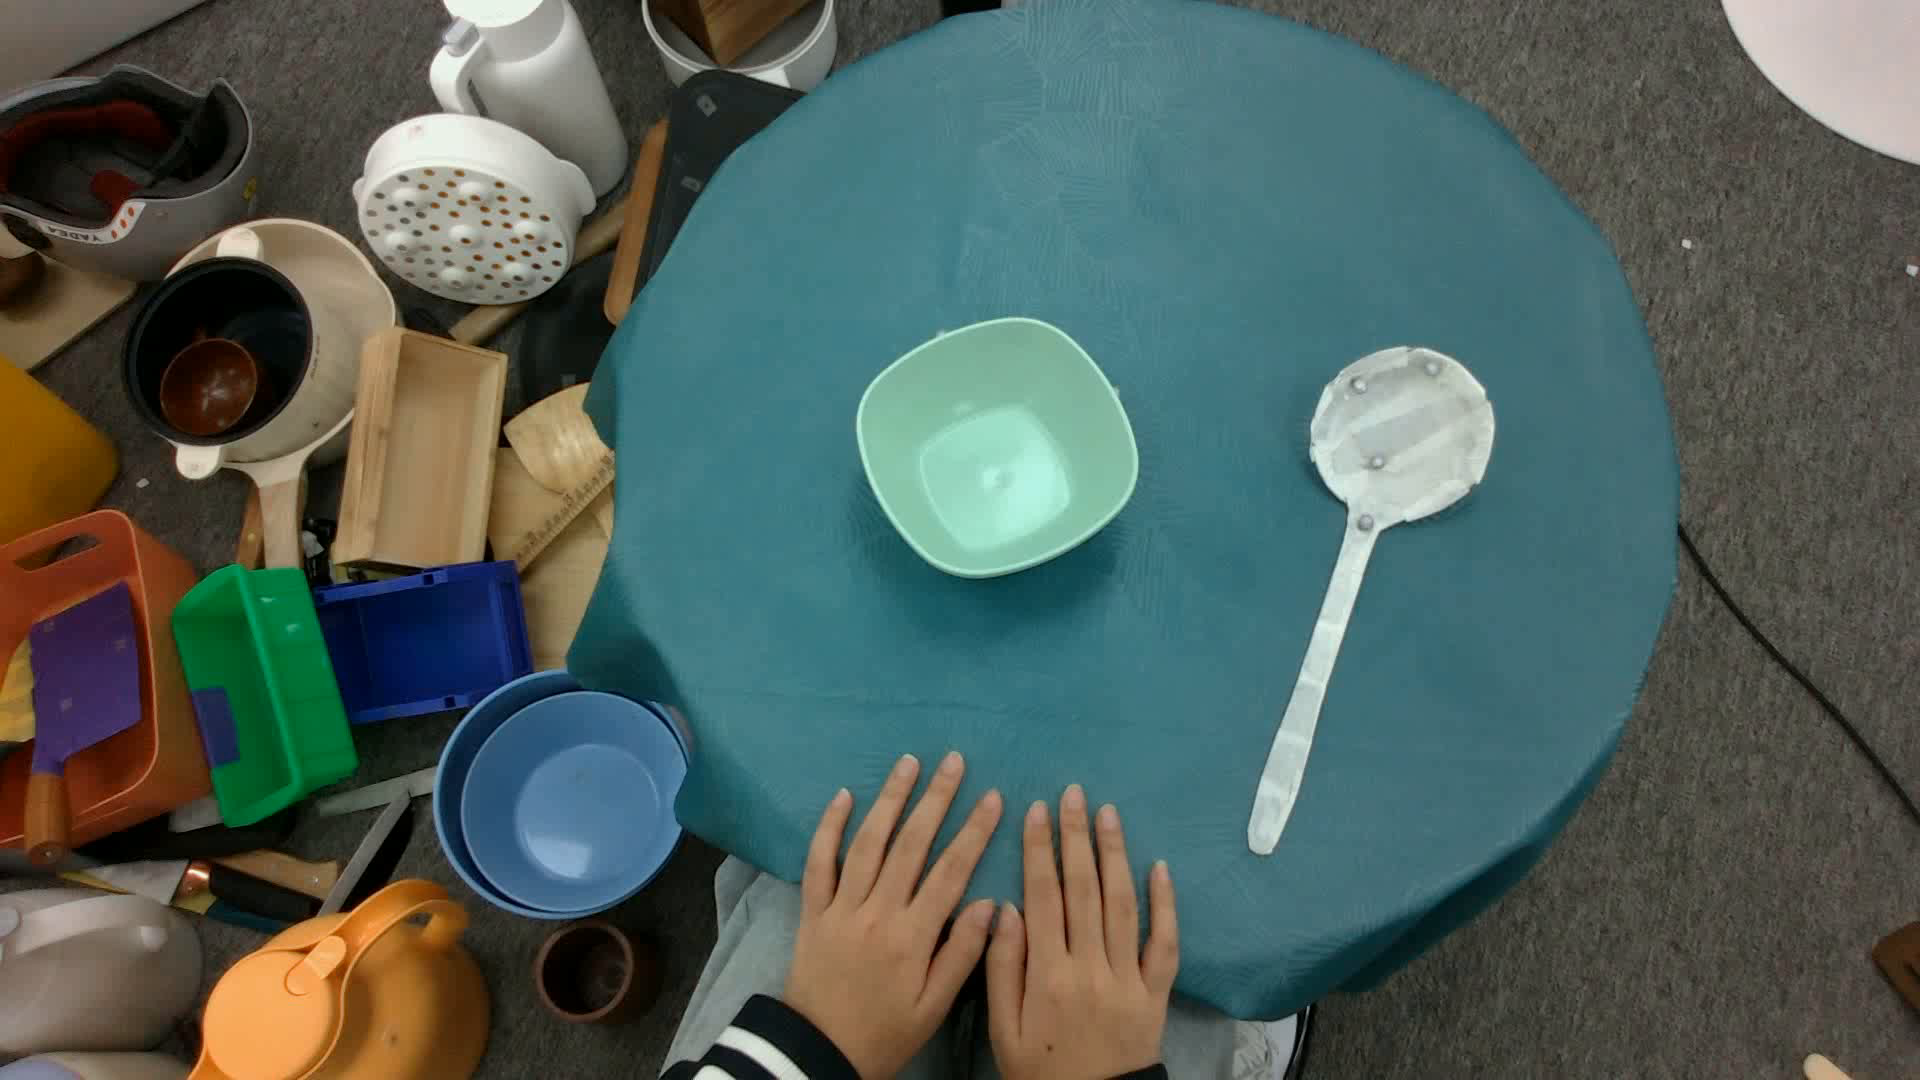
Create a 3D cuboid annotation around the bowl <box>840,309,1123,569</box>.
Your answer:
[{"bbox_3d":[0.011,-0.046,0.743,0.151,0.058,0.152,0,69,0],"label":"bowl"}]

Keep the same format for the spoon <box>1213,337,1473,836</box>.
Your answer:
[{"bbox_3d":[0.185,0.020,0.718,0.100,0.059,0.278,22,70,12],"label":"spoon"}]
